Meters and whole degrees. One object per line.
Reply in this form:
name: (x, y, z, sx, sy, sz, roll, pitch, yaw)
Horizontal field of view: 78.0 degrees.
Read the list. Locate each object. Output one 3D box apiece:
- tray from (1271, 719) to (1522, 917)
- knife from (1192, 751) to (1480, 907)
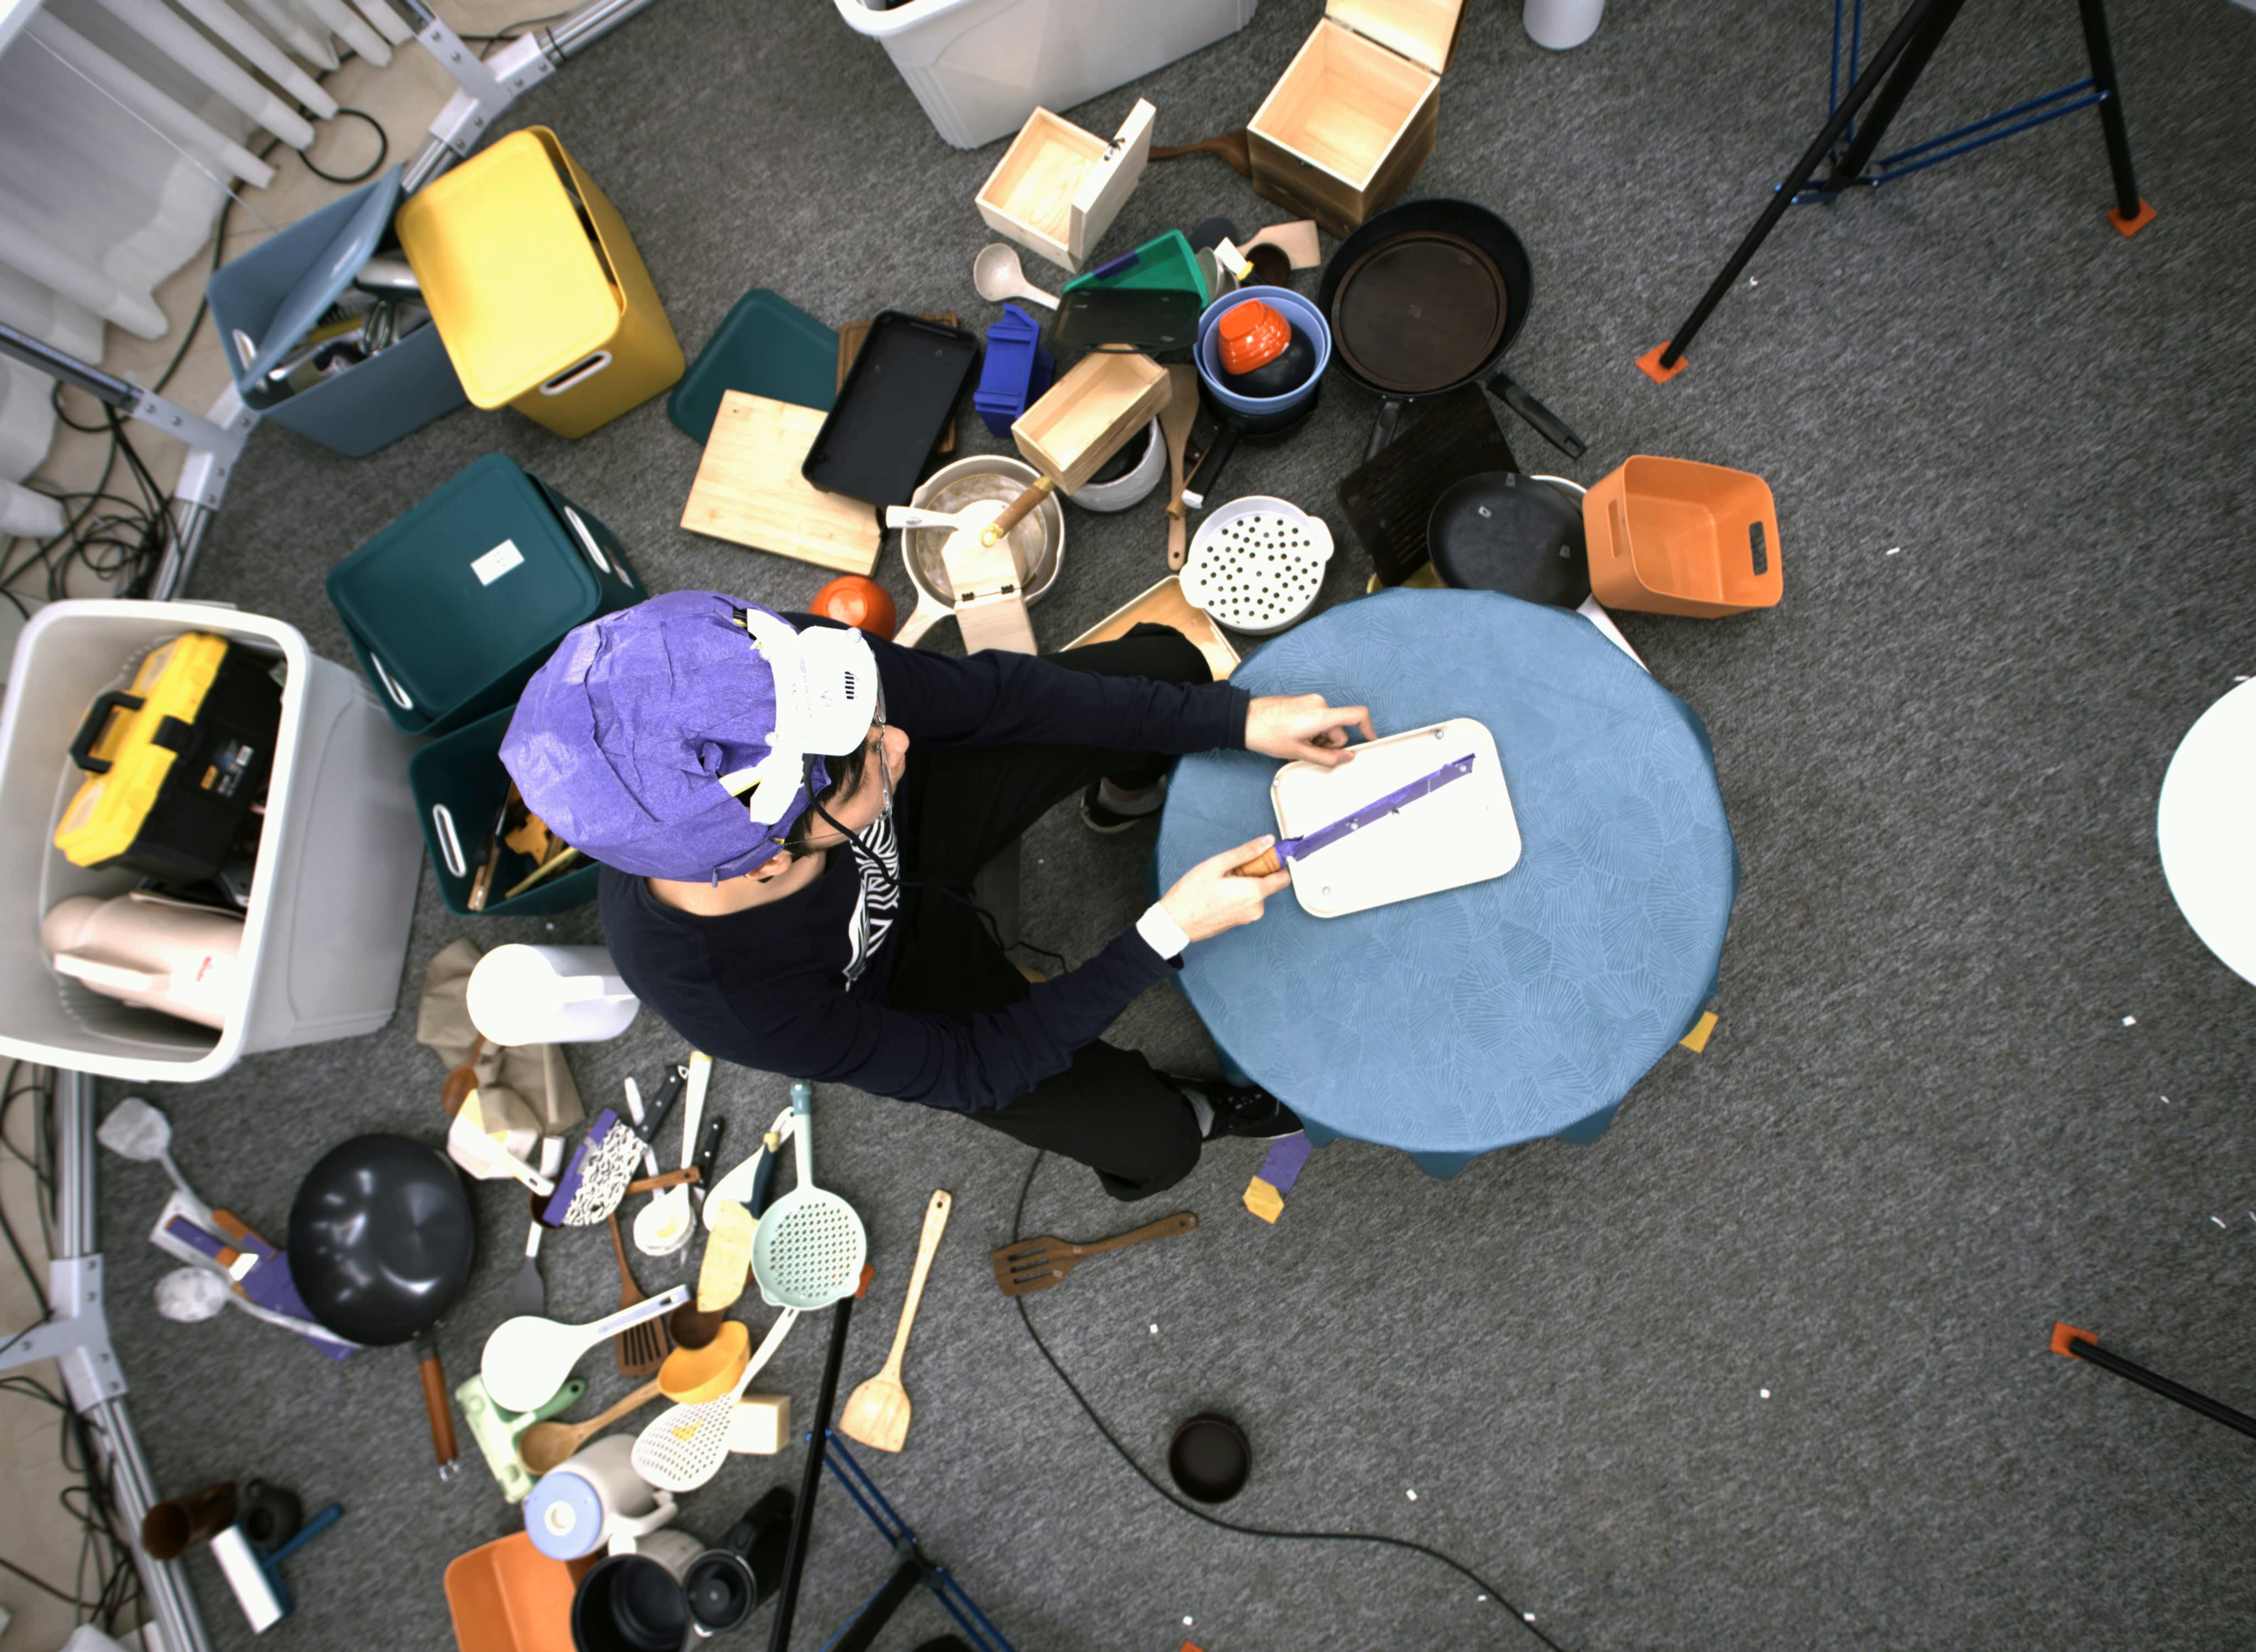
tray: (0.281, -0.009, 1.450, 0.241, 0.017, 0.170, -14, 87, 9)
knife: (0.216, 0.006, 1.409, 0.317, 0.104, 0.032, -26, 75, 7)
